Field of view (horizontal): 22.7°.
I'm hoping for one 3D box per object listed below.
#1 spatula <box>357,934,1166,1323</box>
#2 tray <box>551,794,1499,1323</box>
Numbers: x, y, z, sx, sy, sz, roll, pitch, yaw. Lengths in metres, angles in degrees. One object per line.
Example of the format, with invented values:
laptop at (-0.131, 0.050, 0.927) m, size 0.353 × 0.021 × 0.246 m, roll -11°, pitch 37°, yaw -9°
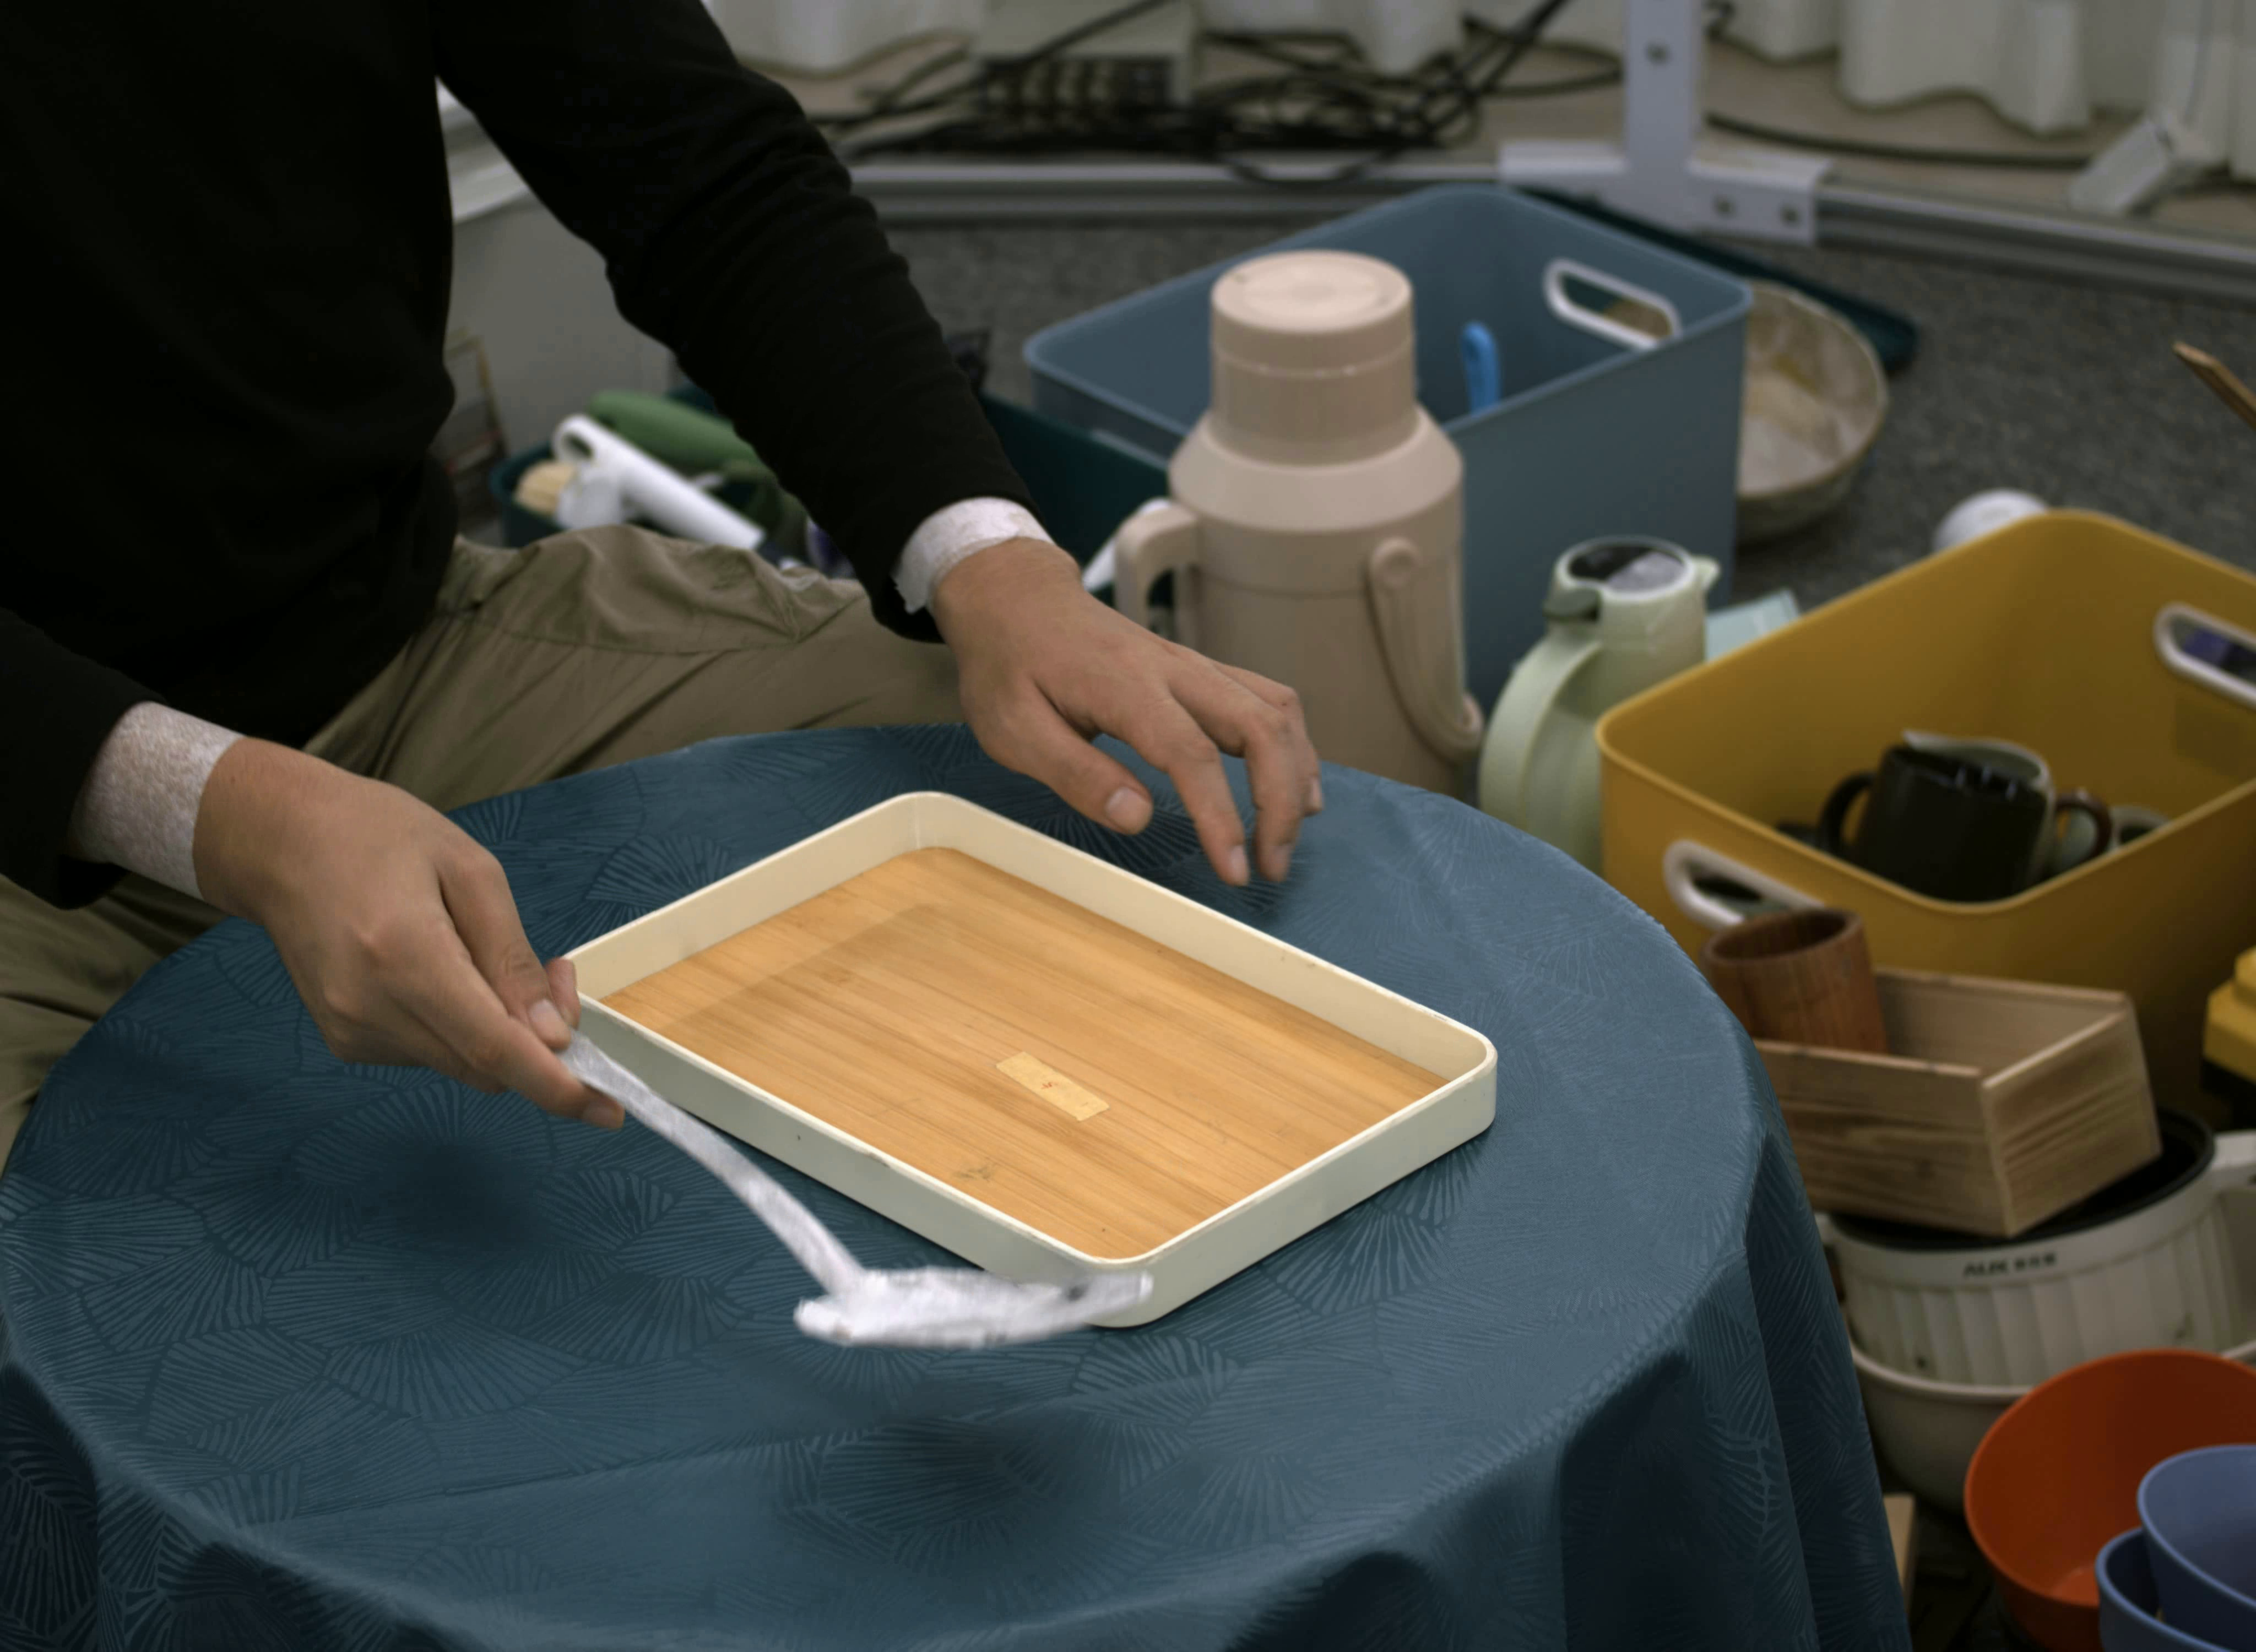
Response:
spatula at (-0.138, 0.089, 1.781) m, size 0.099 × 0.044 × 0.365 m, roll -10°, pitch 29°, yaw -43°
tray at (-0.038, 0.074, 1.927) m, size 0.194 × 0.027 × 0.300 m, roll -26°, pitch 35°, yaw -37°
